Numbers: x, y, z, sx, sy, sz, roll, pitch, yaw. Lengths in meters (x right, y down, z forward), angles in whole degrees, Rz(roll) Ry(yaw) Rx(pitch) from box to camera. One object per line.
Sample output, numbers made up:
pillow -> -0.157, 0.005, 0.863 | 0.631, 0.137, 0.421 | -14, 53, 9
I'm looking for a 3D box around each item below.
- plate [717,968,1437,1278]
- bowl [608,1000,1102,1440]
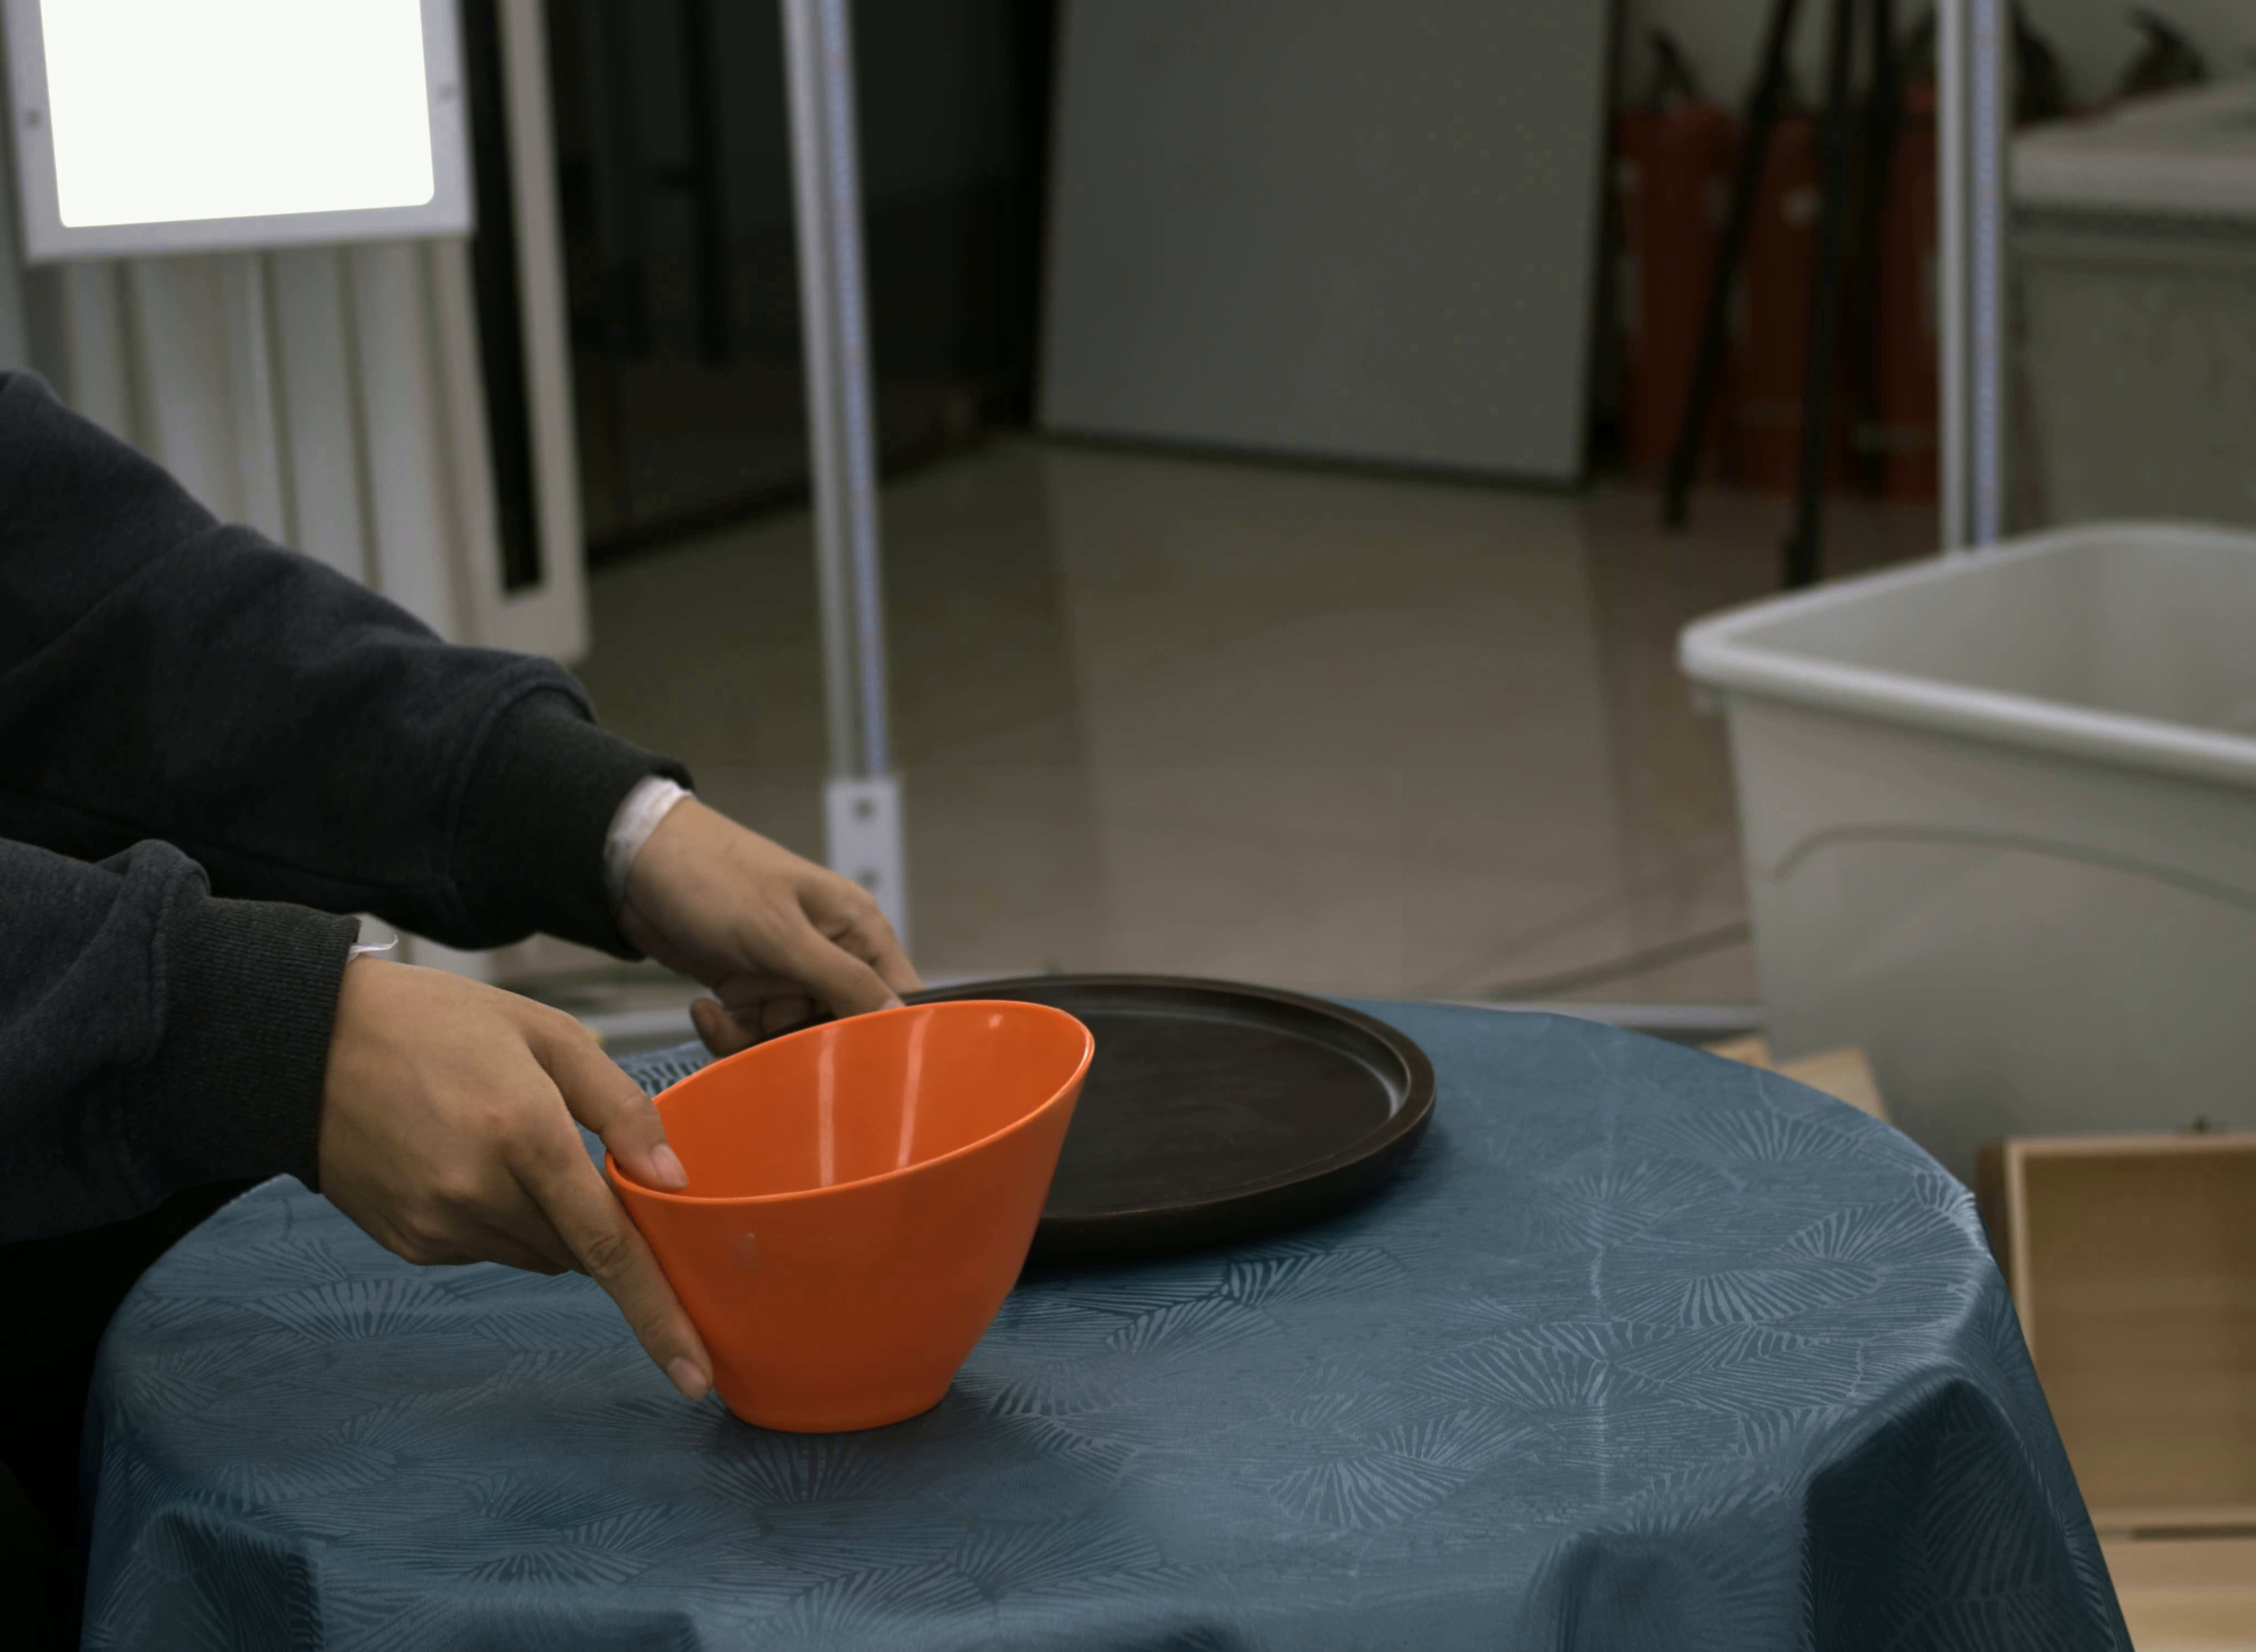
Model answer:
plate -> -0.021, 0.100, 1.803 | 0.251, 0.029, 0.255 | -3, 16, 0
bowl -> -0.077, 0.119, 1.587 | 0.146, 0.106, 0.148 | -4, 14, 0
